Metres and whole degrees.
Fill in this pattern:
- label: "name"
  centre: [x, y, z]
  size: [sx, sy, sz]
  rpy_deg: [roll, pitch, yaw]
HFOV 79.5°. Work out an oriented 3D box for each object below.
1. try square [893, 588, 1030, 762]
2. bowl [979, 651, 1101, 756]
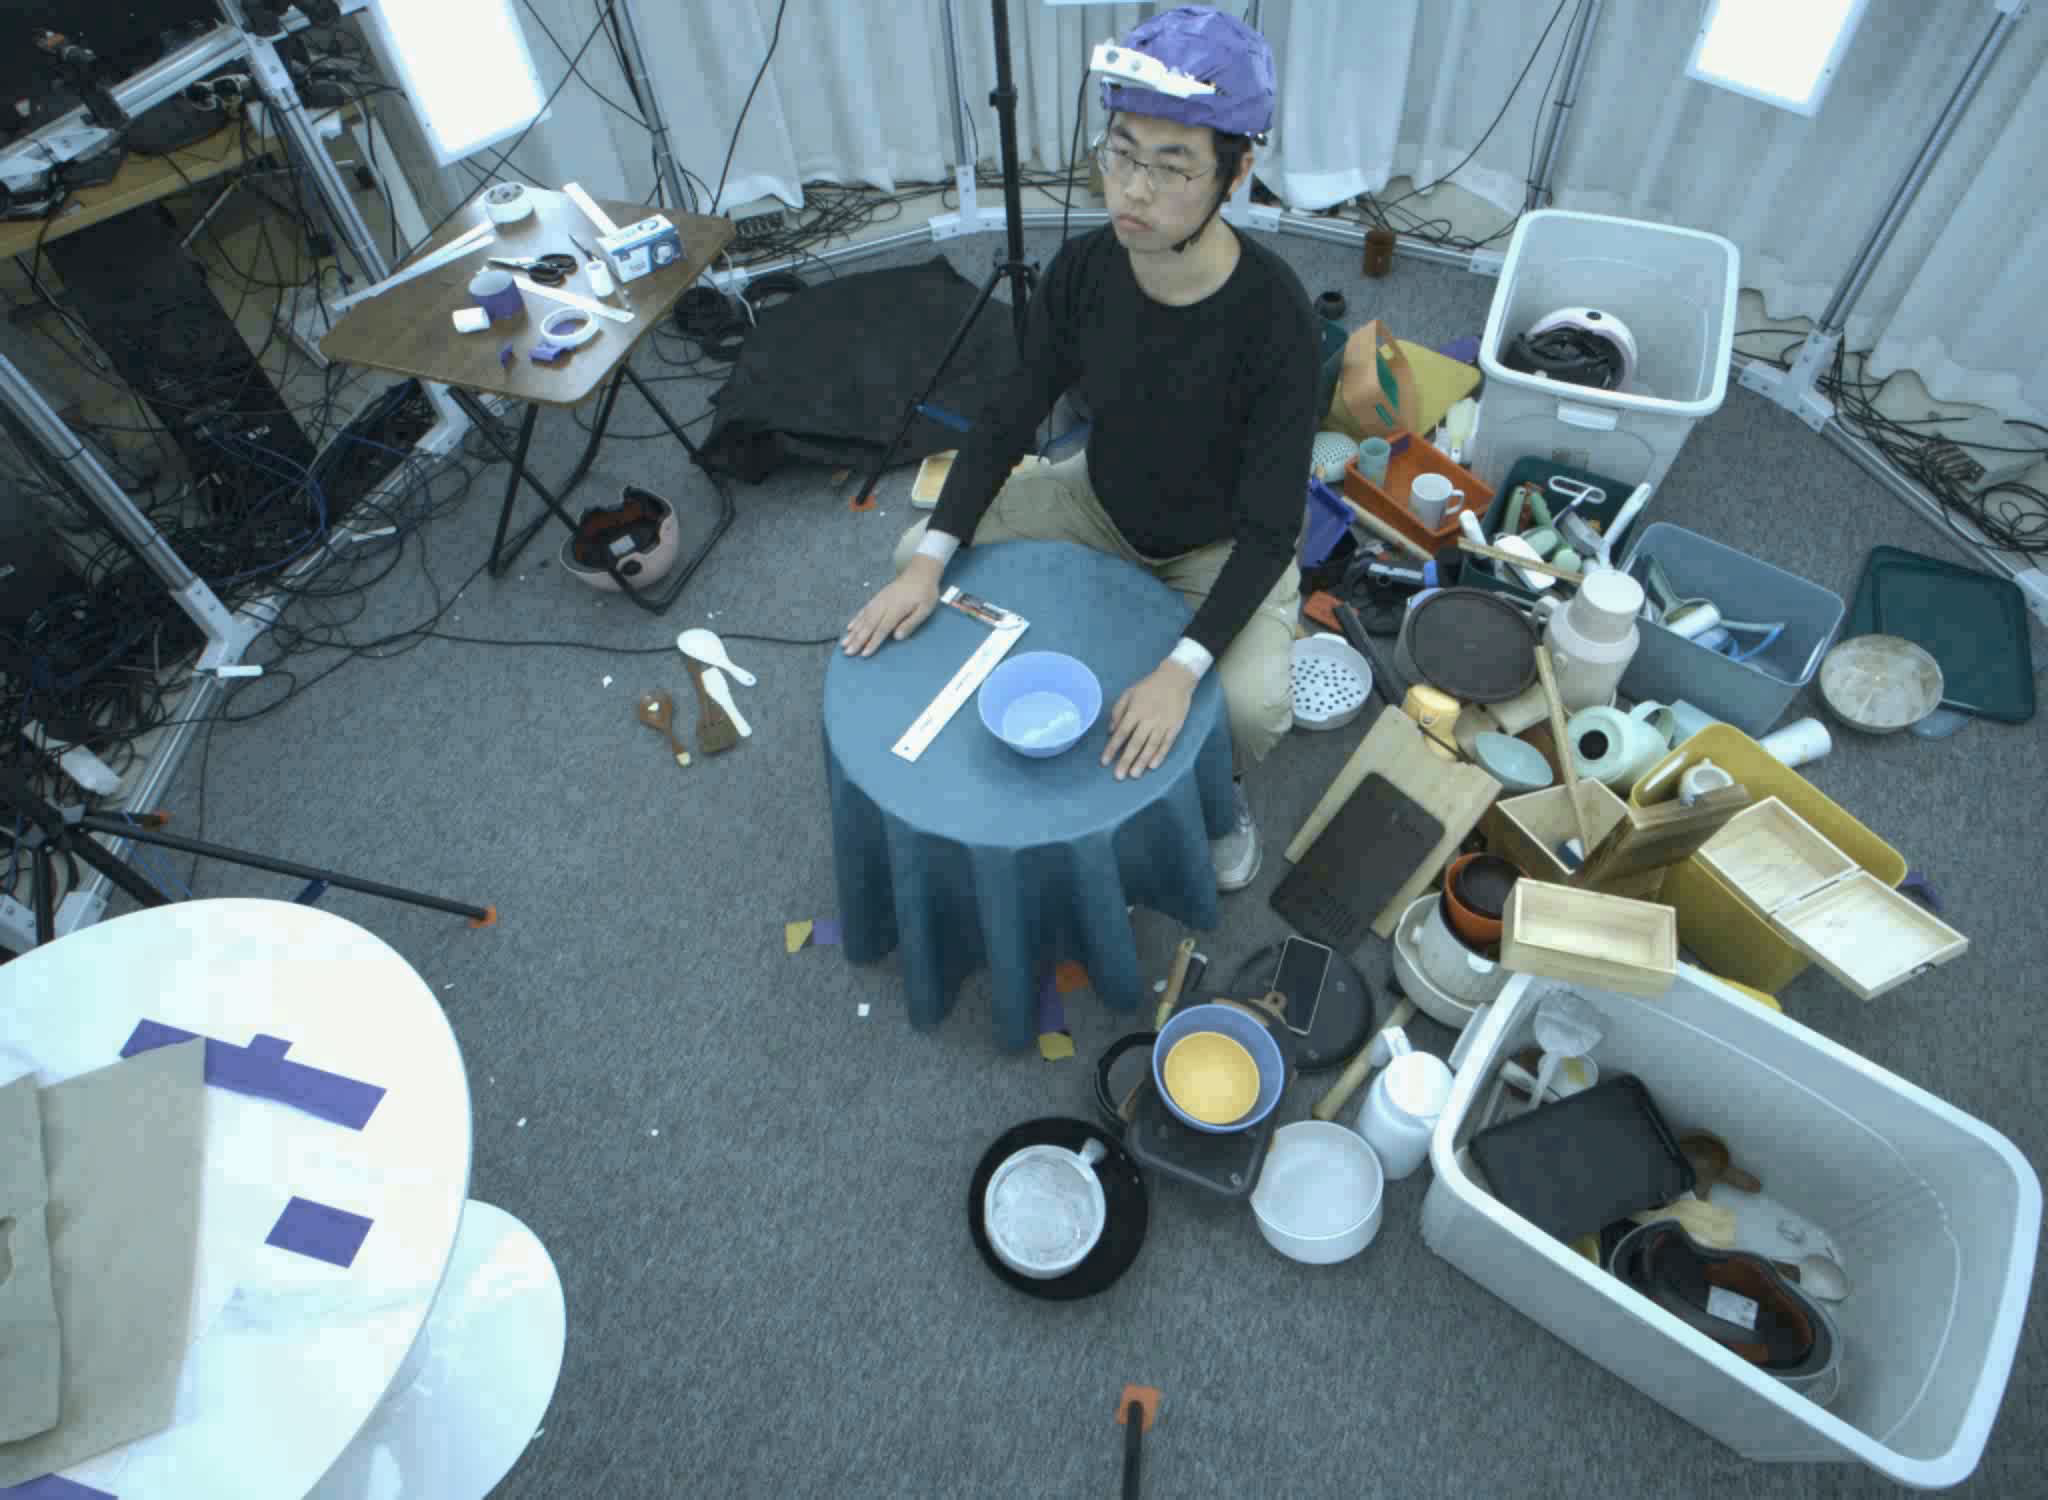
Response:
- label: "try square"
  centre: [-0.136, -0.121, 1.877]
  size: [0.150, 0.016, 0.314]
  rpy_deg: [26, 61, 22]
- label: "bowl"
  centre: [0.025, -0.057, 1.784]
  size: [0.176, 0.071, 0.174]
  rpy_deg: [-1, 55, 2]
